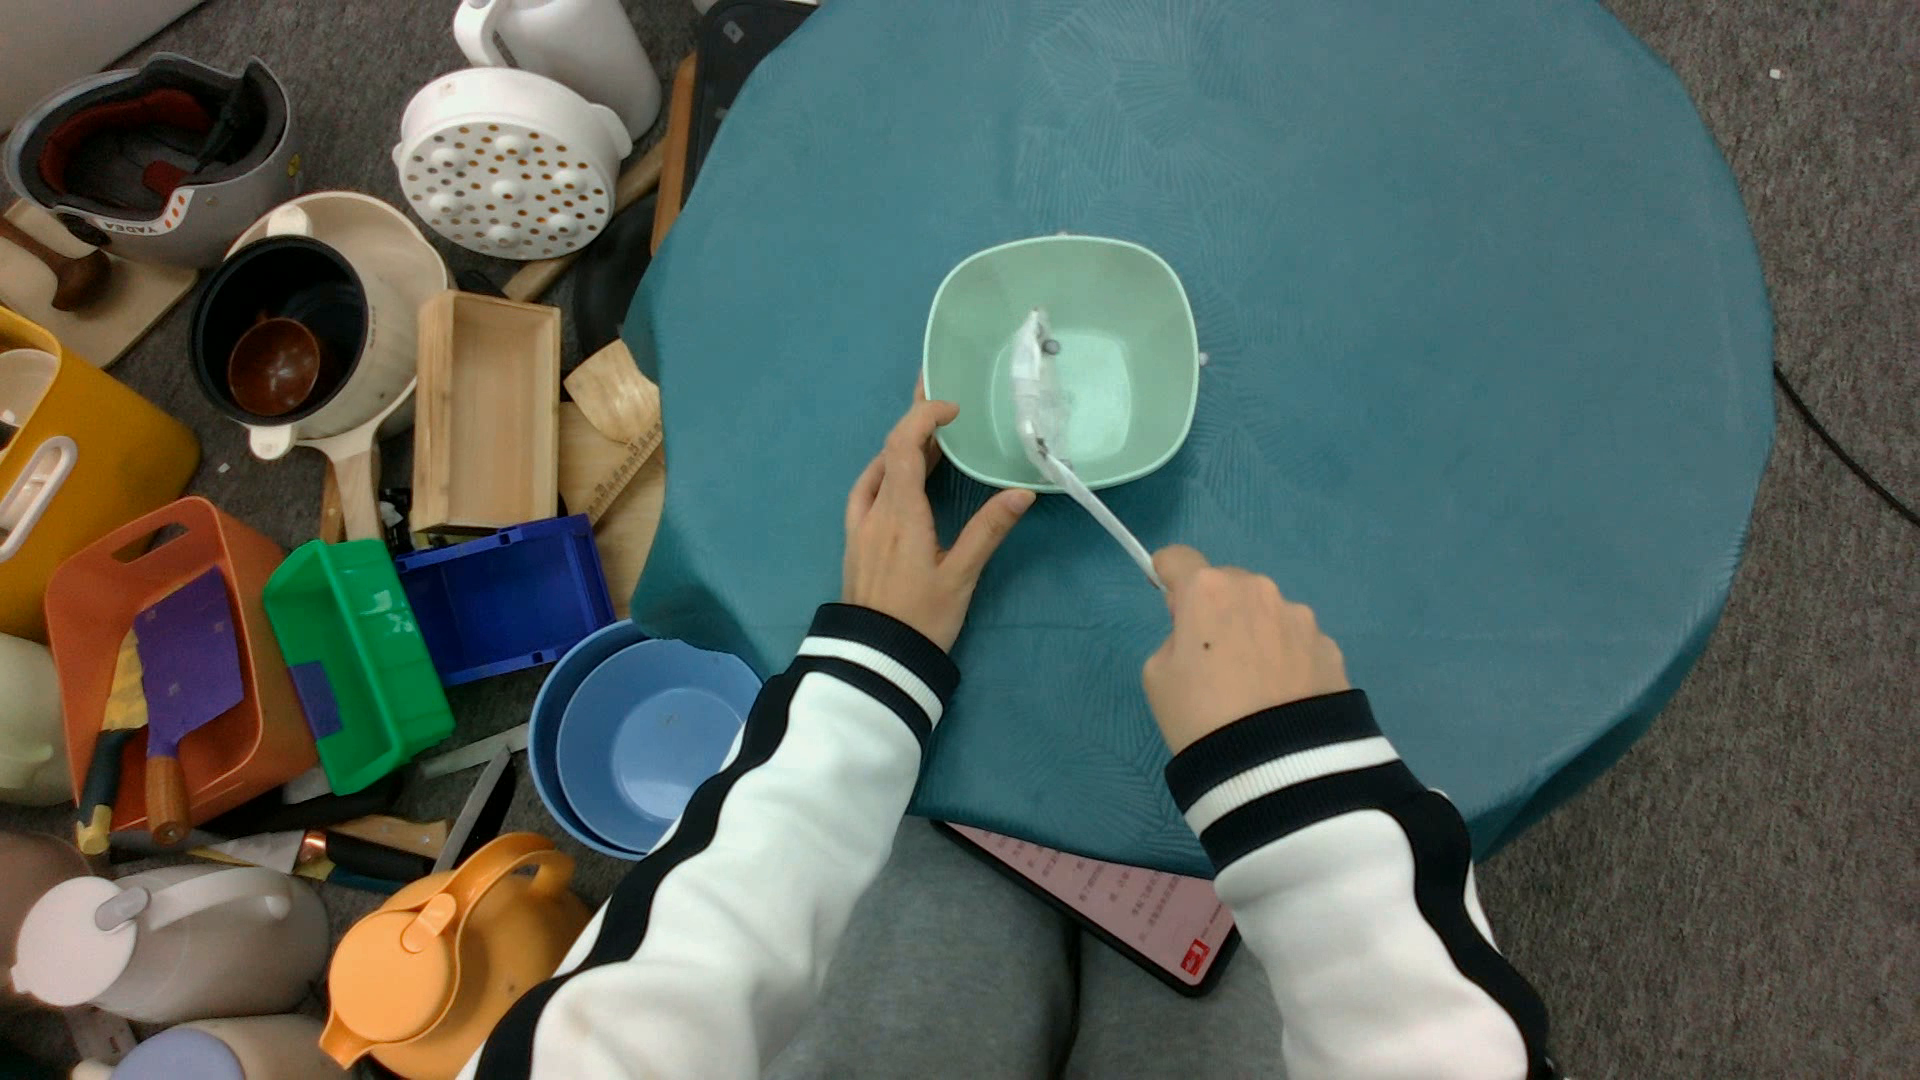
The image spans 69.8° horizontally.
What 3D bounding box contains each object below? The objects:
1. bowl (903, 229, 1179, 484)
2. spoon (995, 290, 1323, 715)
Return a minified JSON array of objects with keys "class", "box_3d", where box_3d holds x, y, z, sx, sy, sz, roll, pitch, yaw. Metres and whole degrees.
[{"class":"bowl","box_3d":[0.042,-0.087,0.719,0.151,0.058,0.152,-1,73,3]},{"class":"spoon","box_3d":[0.086,-0.027,0.616,0.059,0.100,0.278,-34,46,-9]}]
